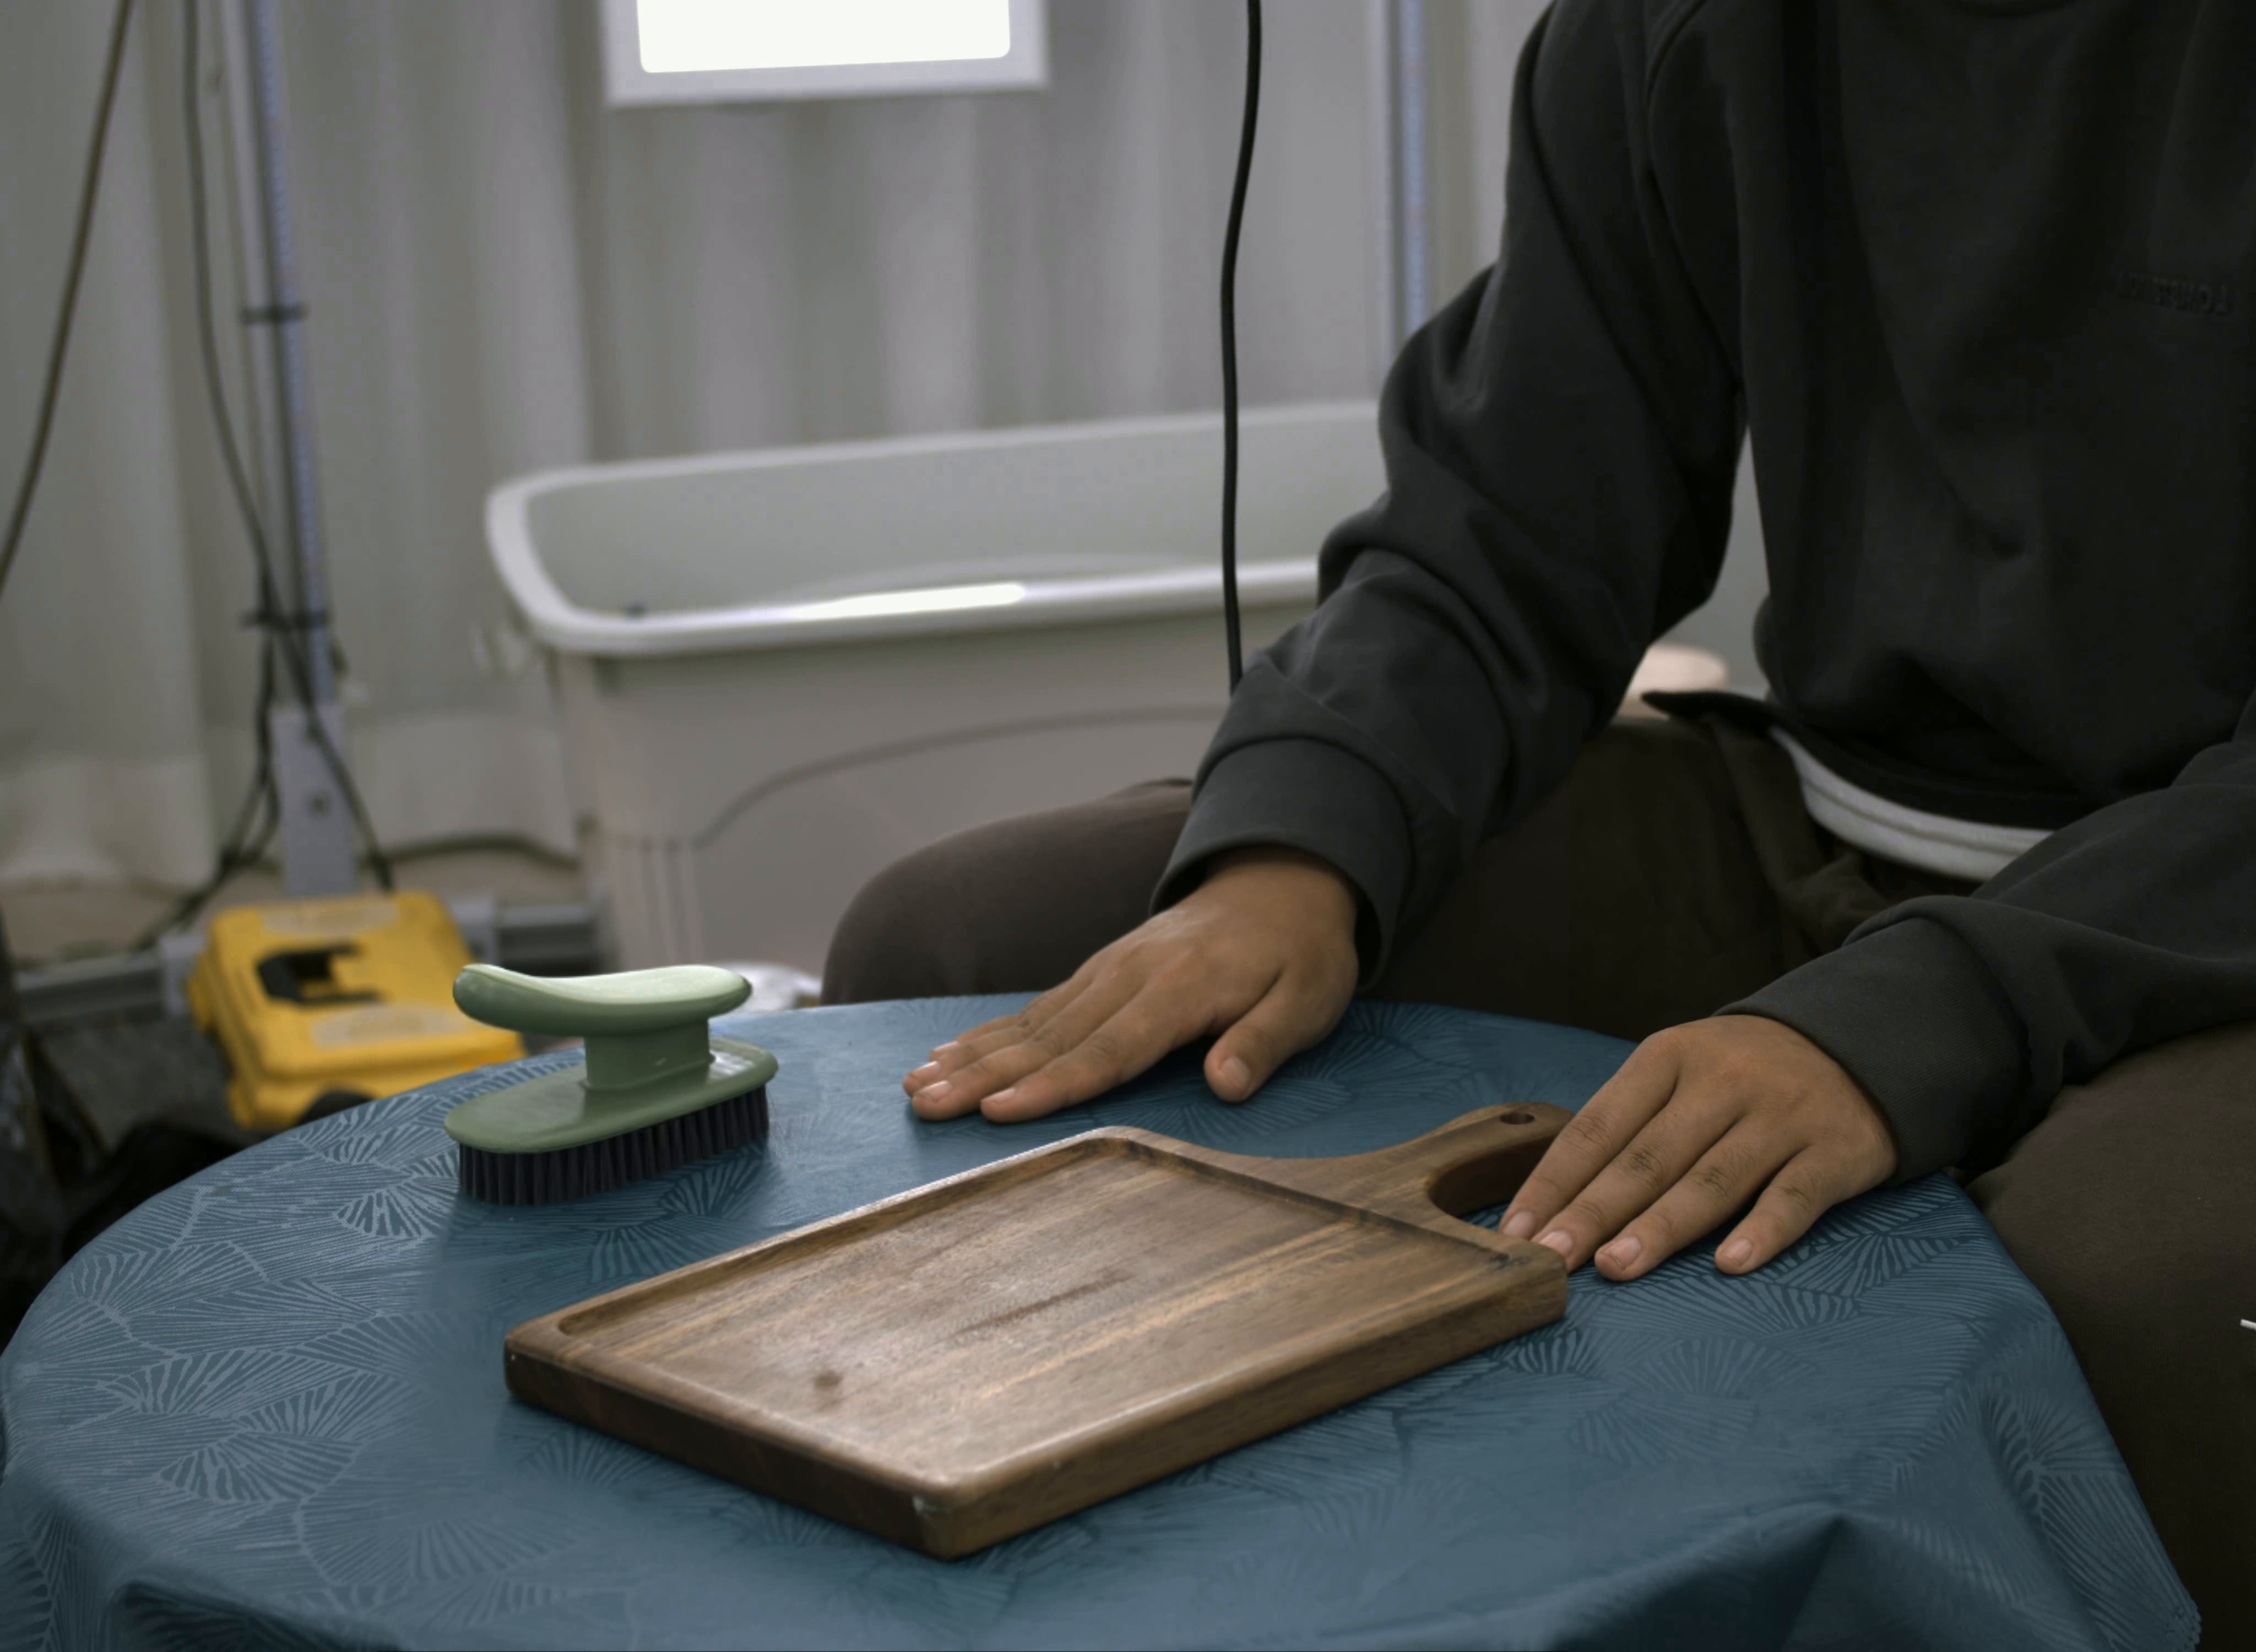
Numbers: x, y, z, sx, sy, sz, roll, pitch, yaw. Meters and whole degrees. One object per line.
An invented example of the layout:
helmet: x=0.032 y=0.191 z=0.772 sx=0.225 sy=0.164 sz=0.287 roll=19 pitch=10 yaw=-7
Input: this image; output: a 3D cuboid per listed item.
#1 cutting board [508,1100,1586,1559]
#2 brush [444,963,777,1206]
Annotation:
cutting board: x=0.012 y=0.133 z=1.606 sx=0.351 sy=0.023 sz=0.202 roll=-16 pitch=20 yaw=-41
brush: x=-0.168 y=0.083 z=1.766 sx=0.060 sy=0.076 sz=0.122 roll=12 pitch=6 yaw=43
